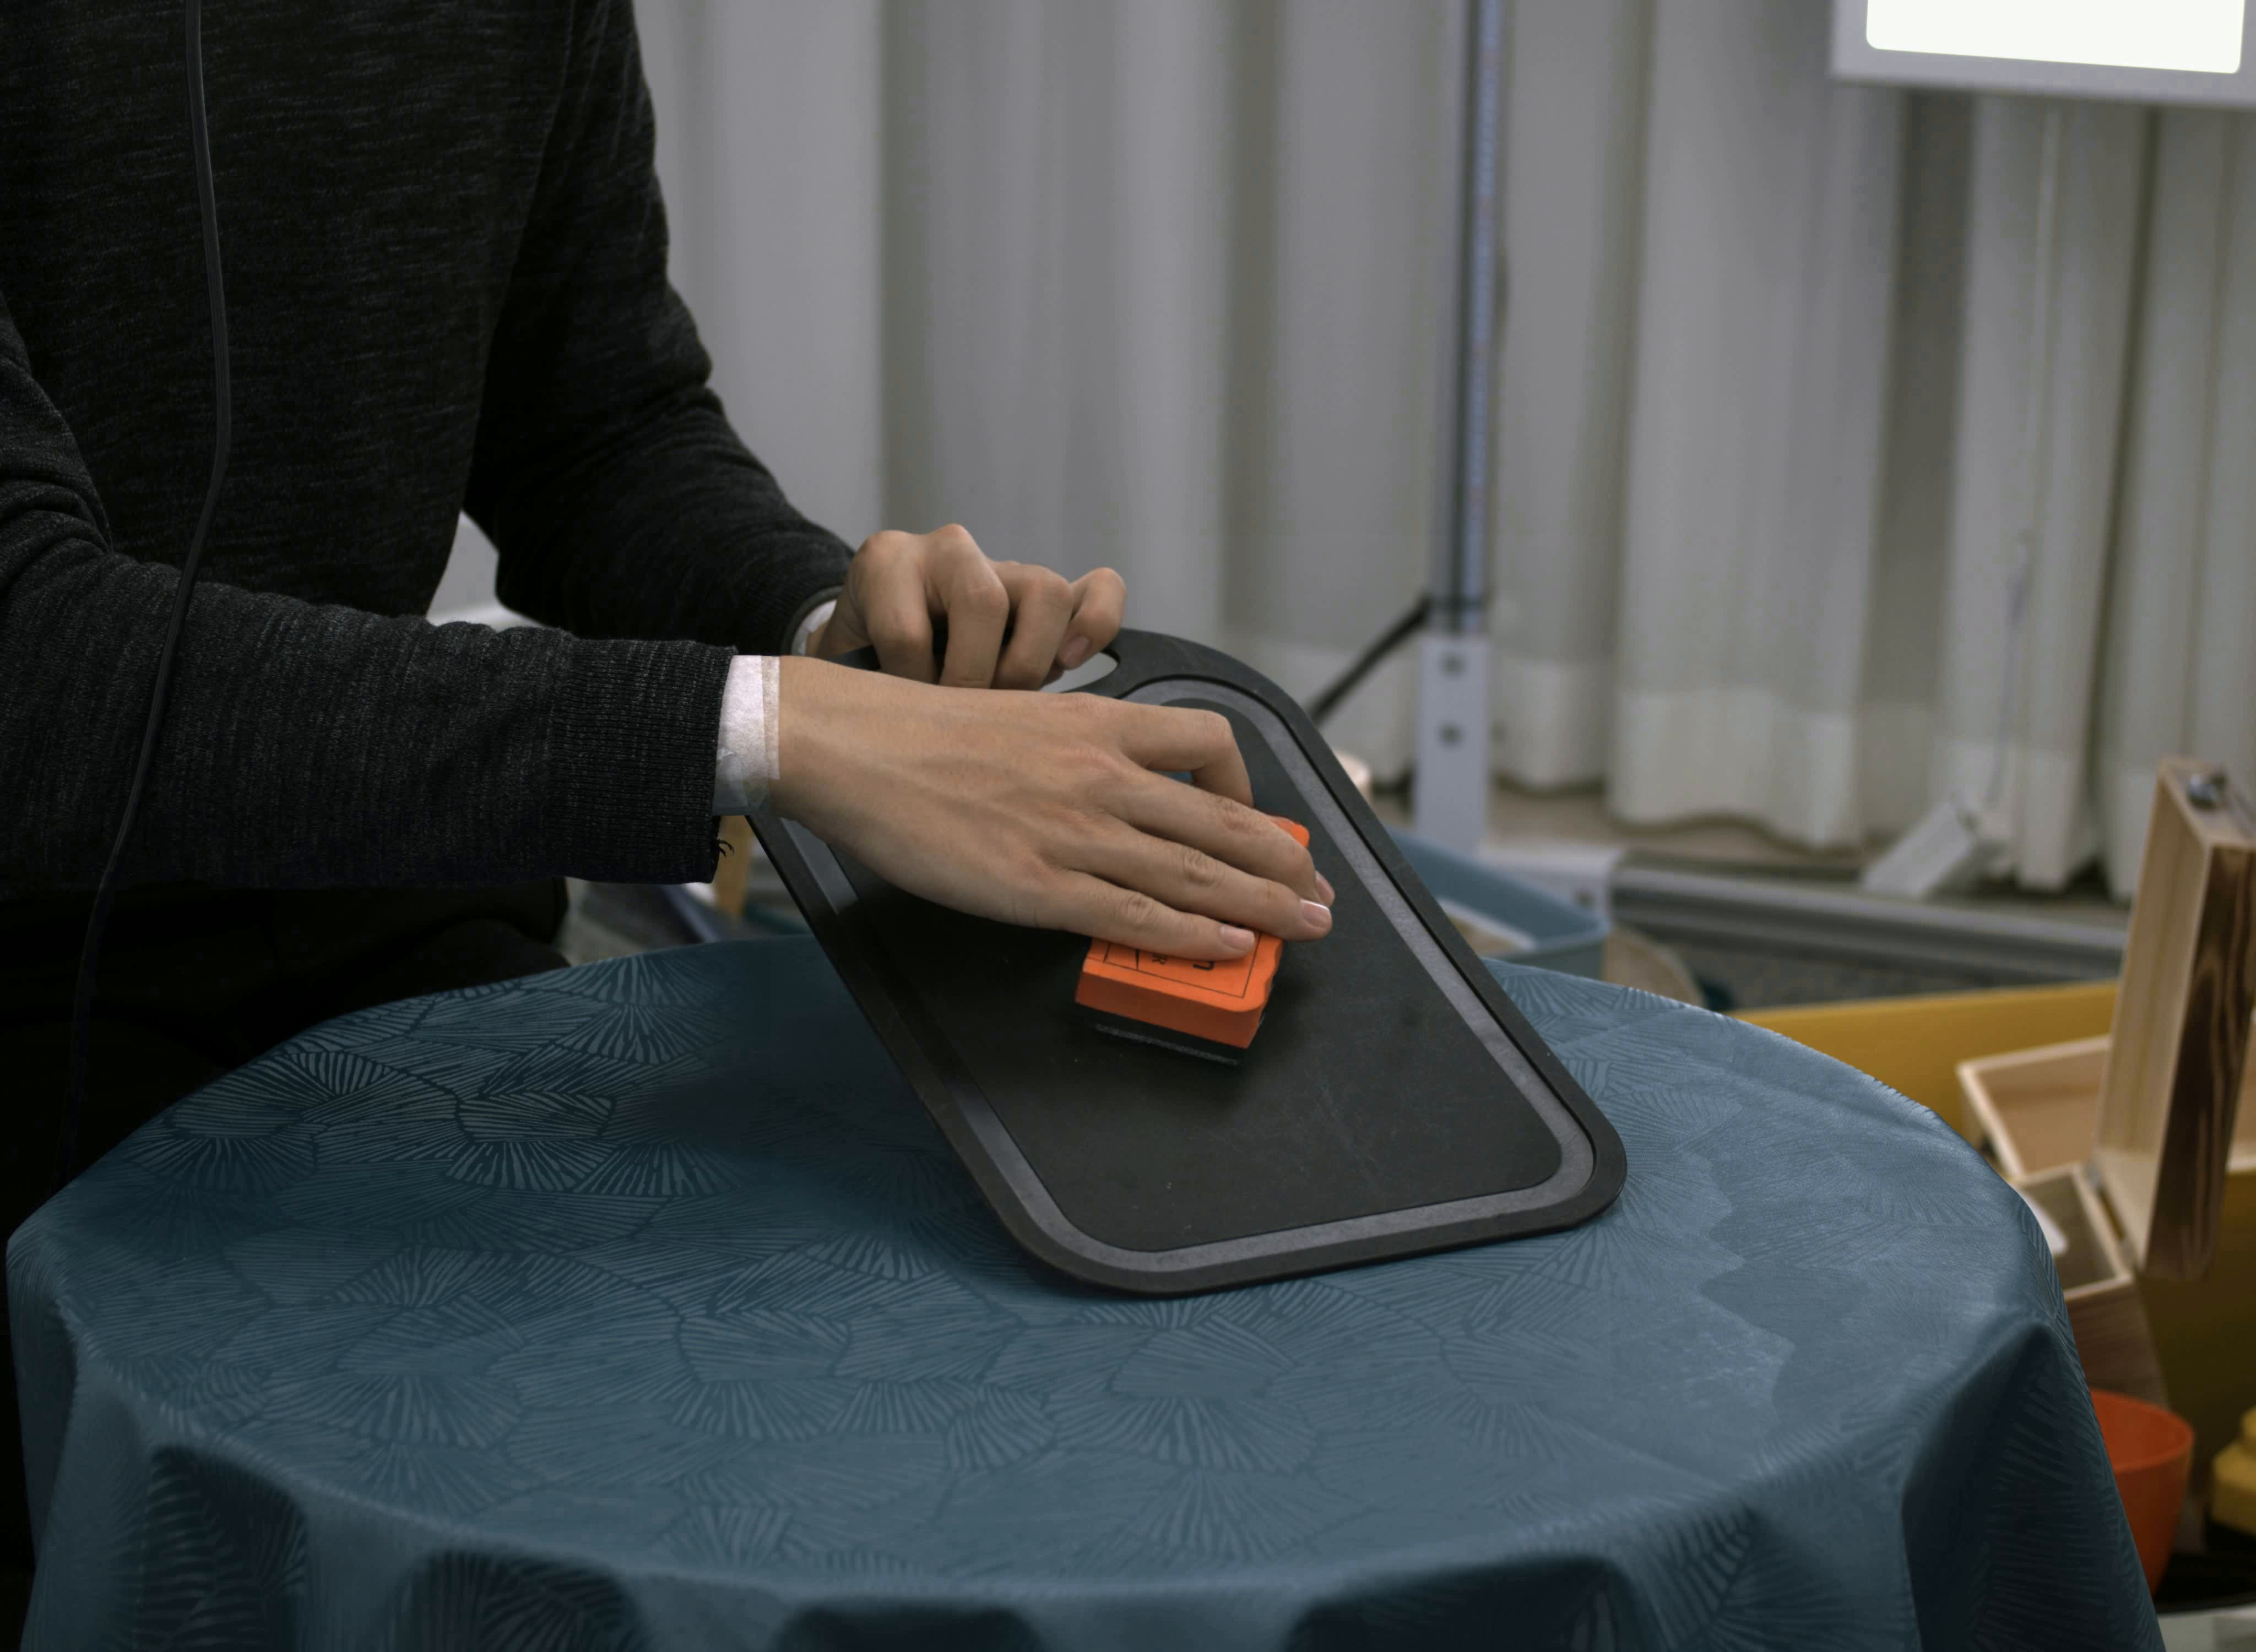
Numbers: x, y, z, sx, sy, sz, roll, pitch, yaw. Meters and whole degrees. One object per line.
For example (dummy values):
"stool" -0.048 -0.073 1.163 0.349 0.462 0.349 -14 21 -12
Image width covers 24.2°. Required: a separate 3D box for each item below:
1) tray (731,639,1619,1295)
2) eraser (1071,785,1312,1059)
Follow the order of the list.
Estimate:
"tray" 0.007 0.034 1.668 0.212 0.010 0.321 -6 40 -26
"eraser" 0.021 0.029 1.664 0.059 0.023 0.107 14 36 5
